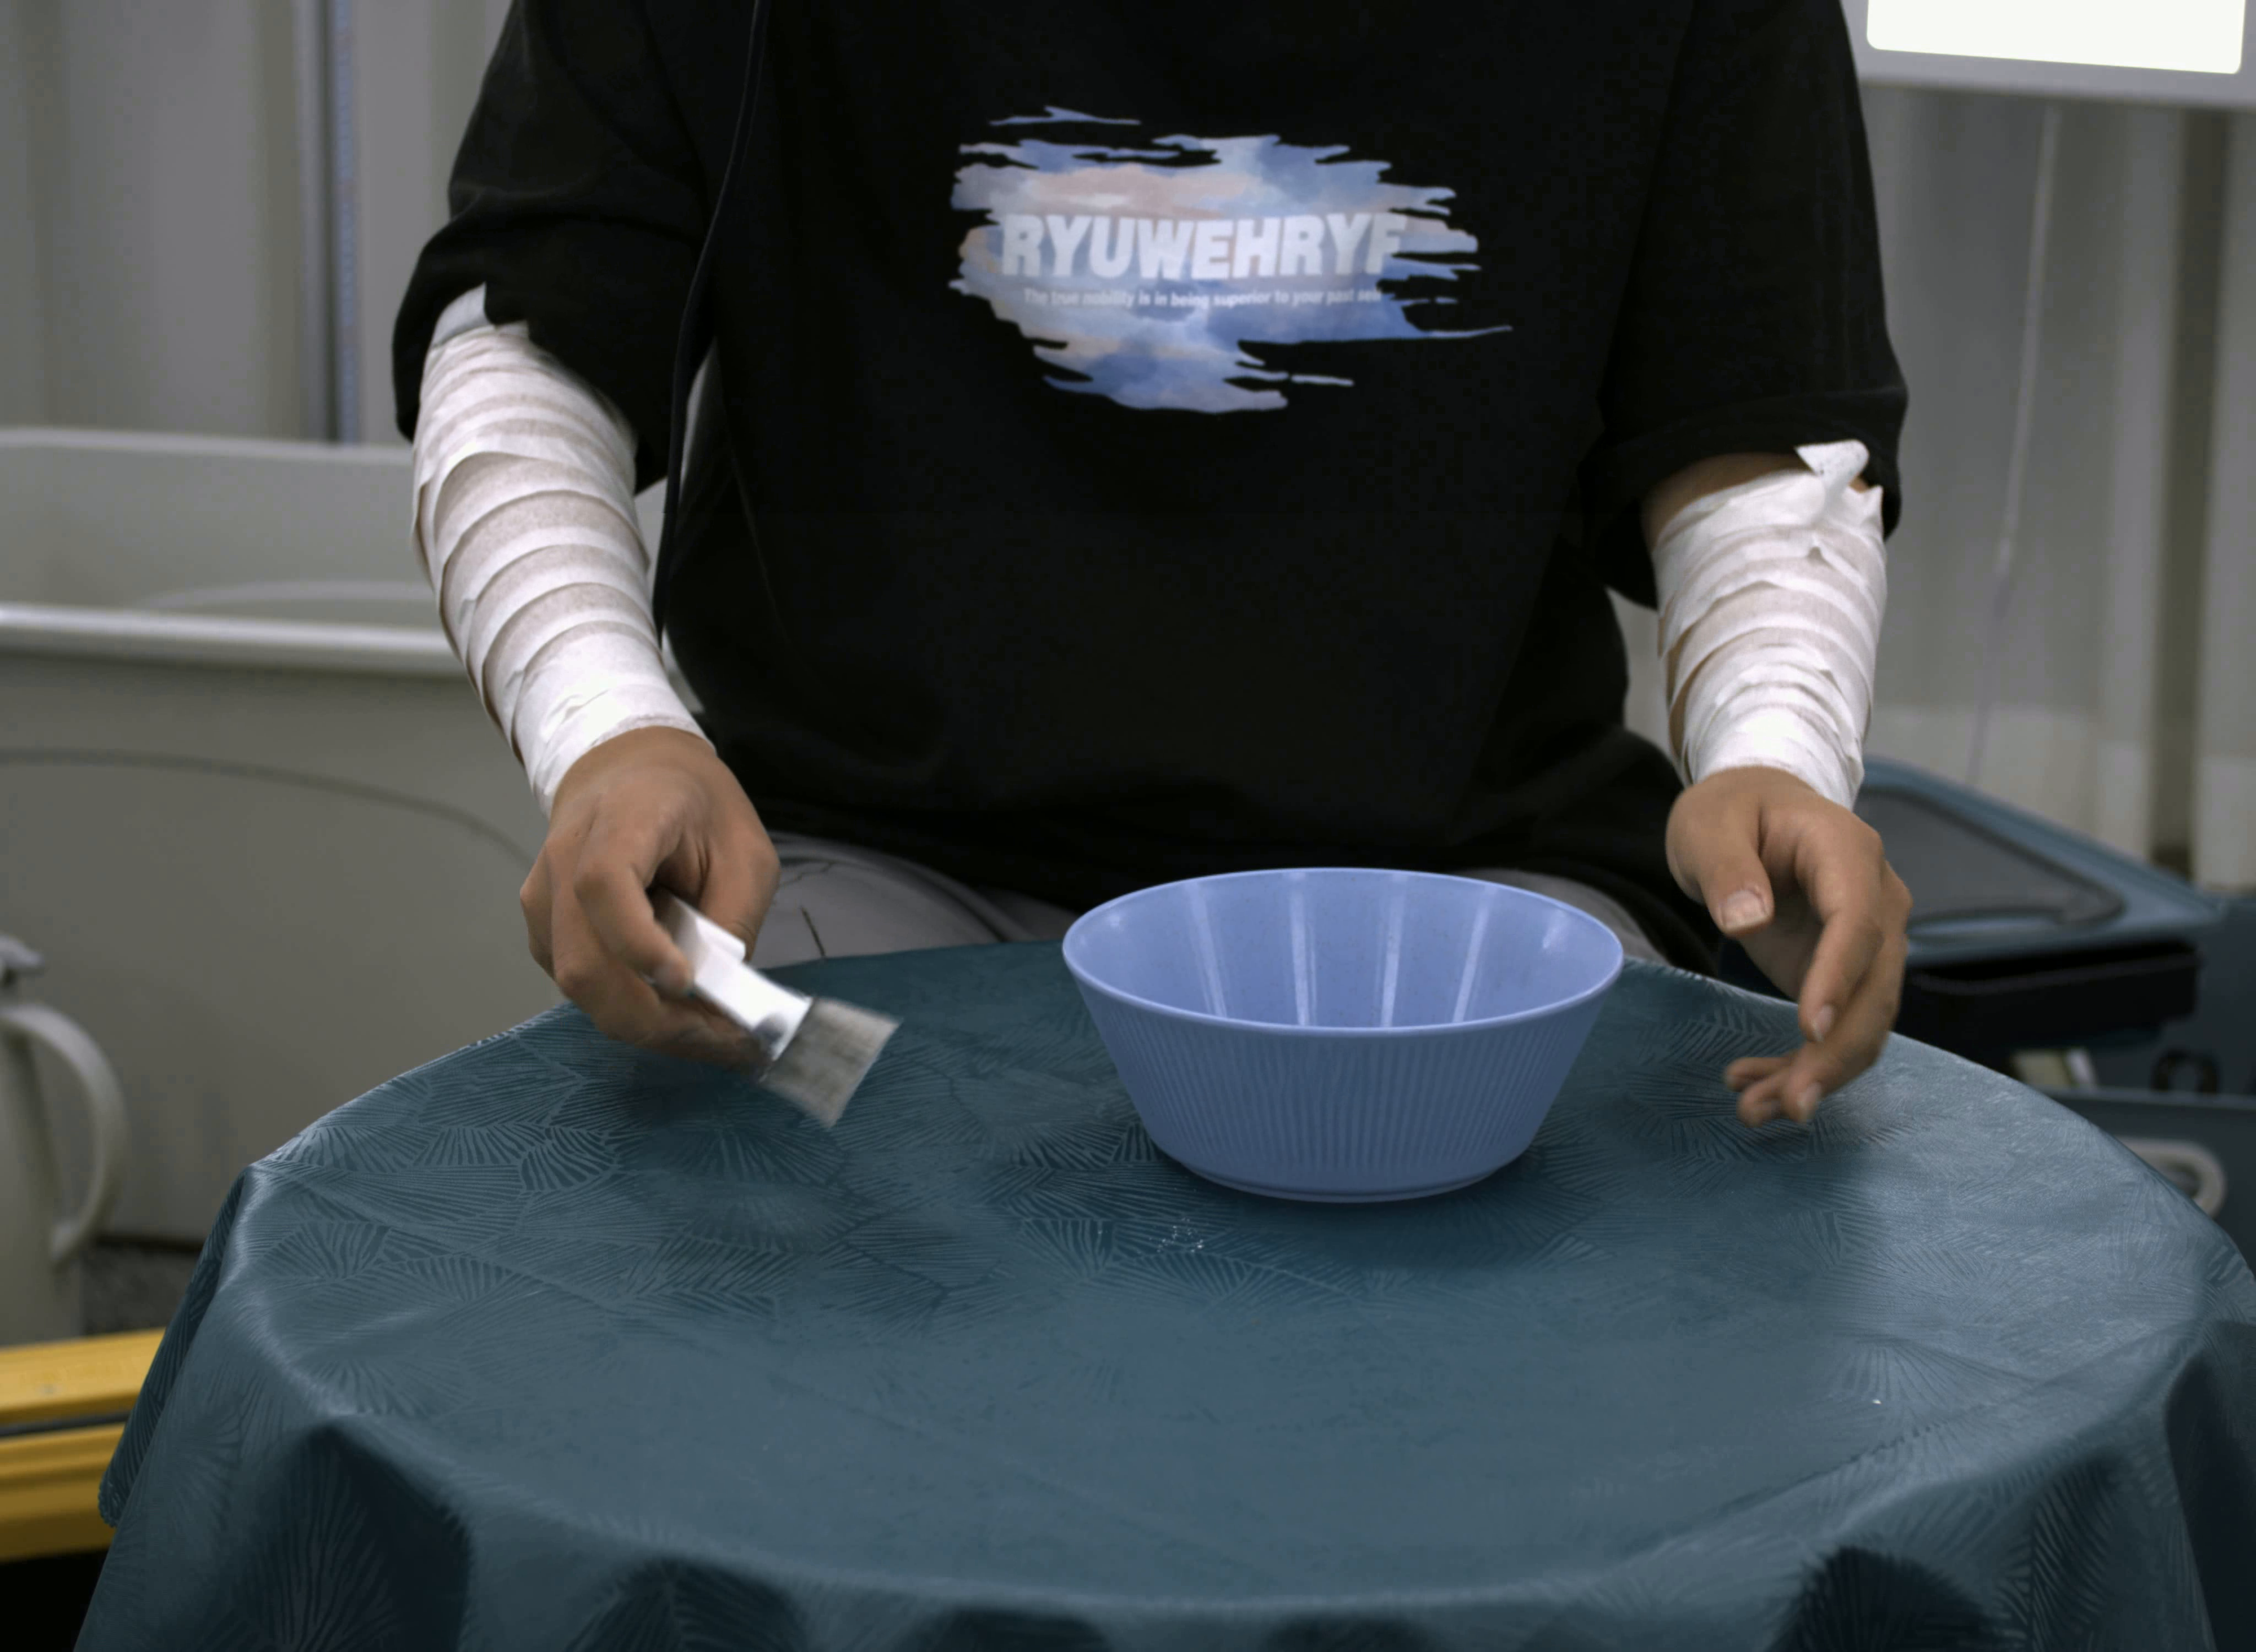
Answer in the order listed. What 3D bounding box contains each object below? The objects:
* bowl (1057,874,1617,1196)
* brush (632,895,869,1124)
[{"bbox_3d":[0.065,0.068,1.656,0.175,0.071,0.175,1,15,0],"label":"bowl"},{"bbox_3d":[-0.118,0.055,1.641,0.050,0.034,0.242,21,3,-14],"label":"brush"}]
